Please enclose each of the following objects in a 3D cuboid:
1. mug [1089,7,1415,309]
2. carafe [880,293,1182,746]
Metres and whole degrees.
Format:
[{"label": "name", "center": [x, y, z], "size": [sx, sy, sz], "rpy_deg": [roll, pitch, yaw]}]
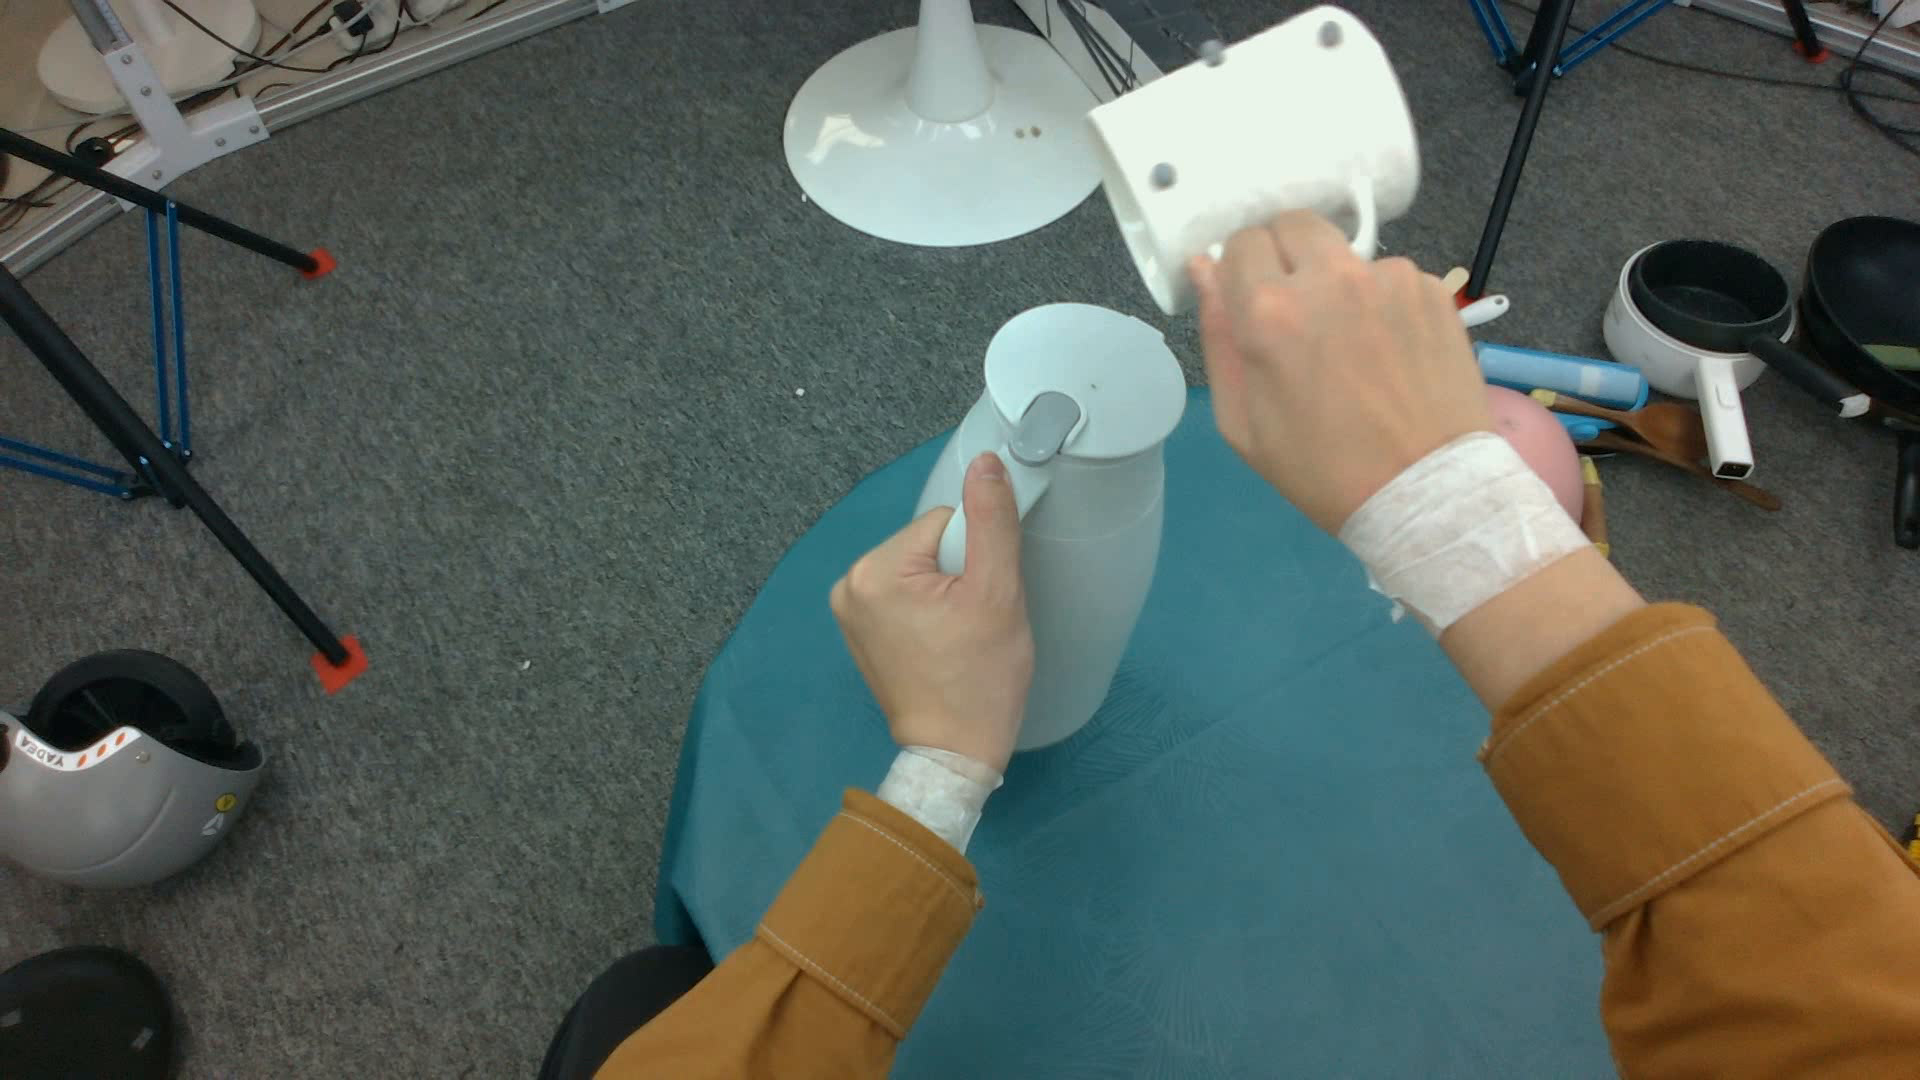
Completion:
[{"label": "mug", "center": [0.118, -0.139, 0.530], "size": [0.102, 0.084, 0.118], "rpy_deg": [-22, 51, 2]}, {"label": "carafe", "center": [0.028, 0.003, 0.690], "size": [0.132, 0.247, 0.168], "rpy_deg": [32, 56, 12]}]
